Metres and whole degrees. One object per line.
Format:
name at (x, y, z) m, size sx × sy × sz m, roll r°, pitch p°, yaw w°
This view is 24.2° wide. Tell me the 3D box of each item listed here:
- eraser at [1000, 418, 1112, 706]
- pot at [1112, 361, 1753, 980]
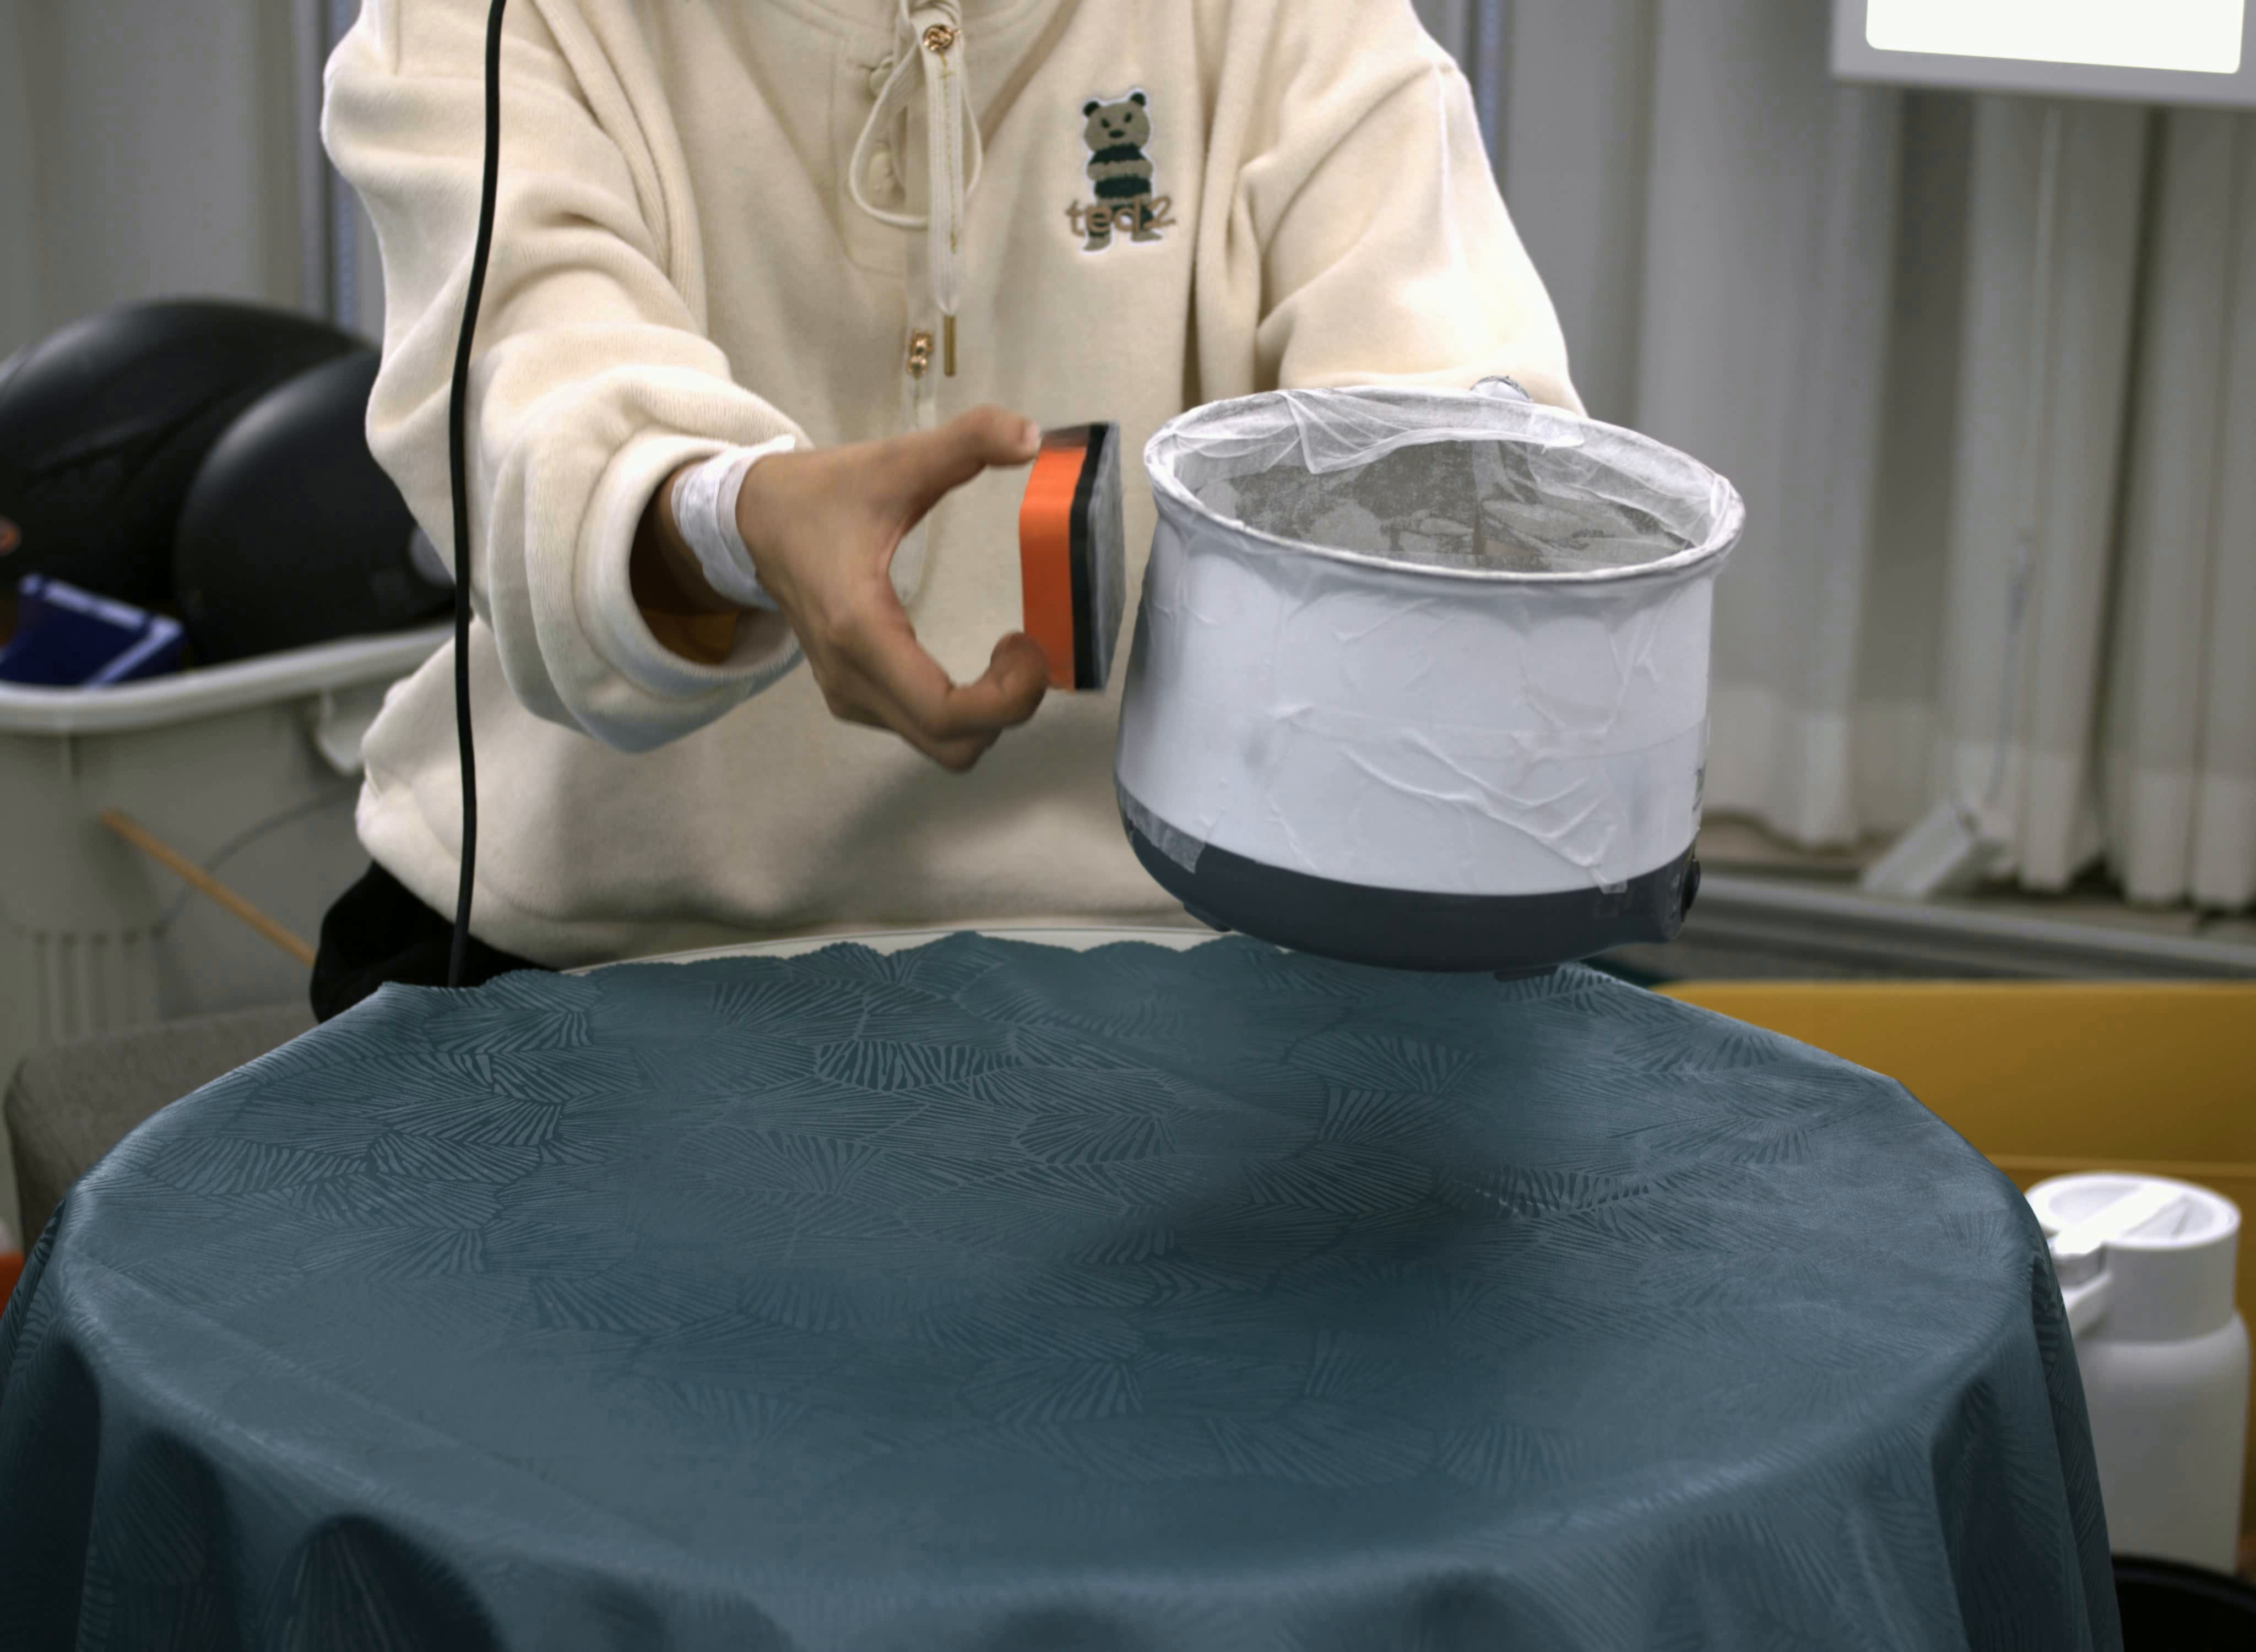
eraser at (-0.021, -0.078, 1.543) m, size 0.023 × 0.059 × 0.107 m, roll -4°, pitch 21°, yaw 4°
pot at (0.092, -0.055, 1.577) m, size 0.177 × 0.138 × 0.233 m, roll 11°, pitch 23°, yaw 8°
